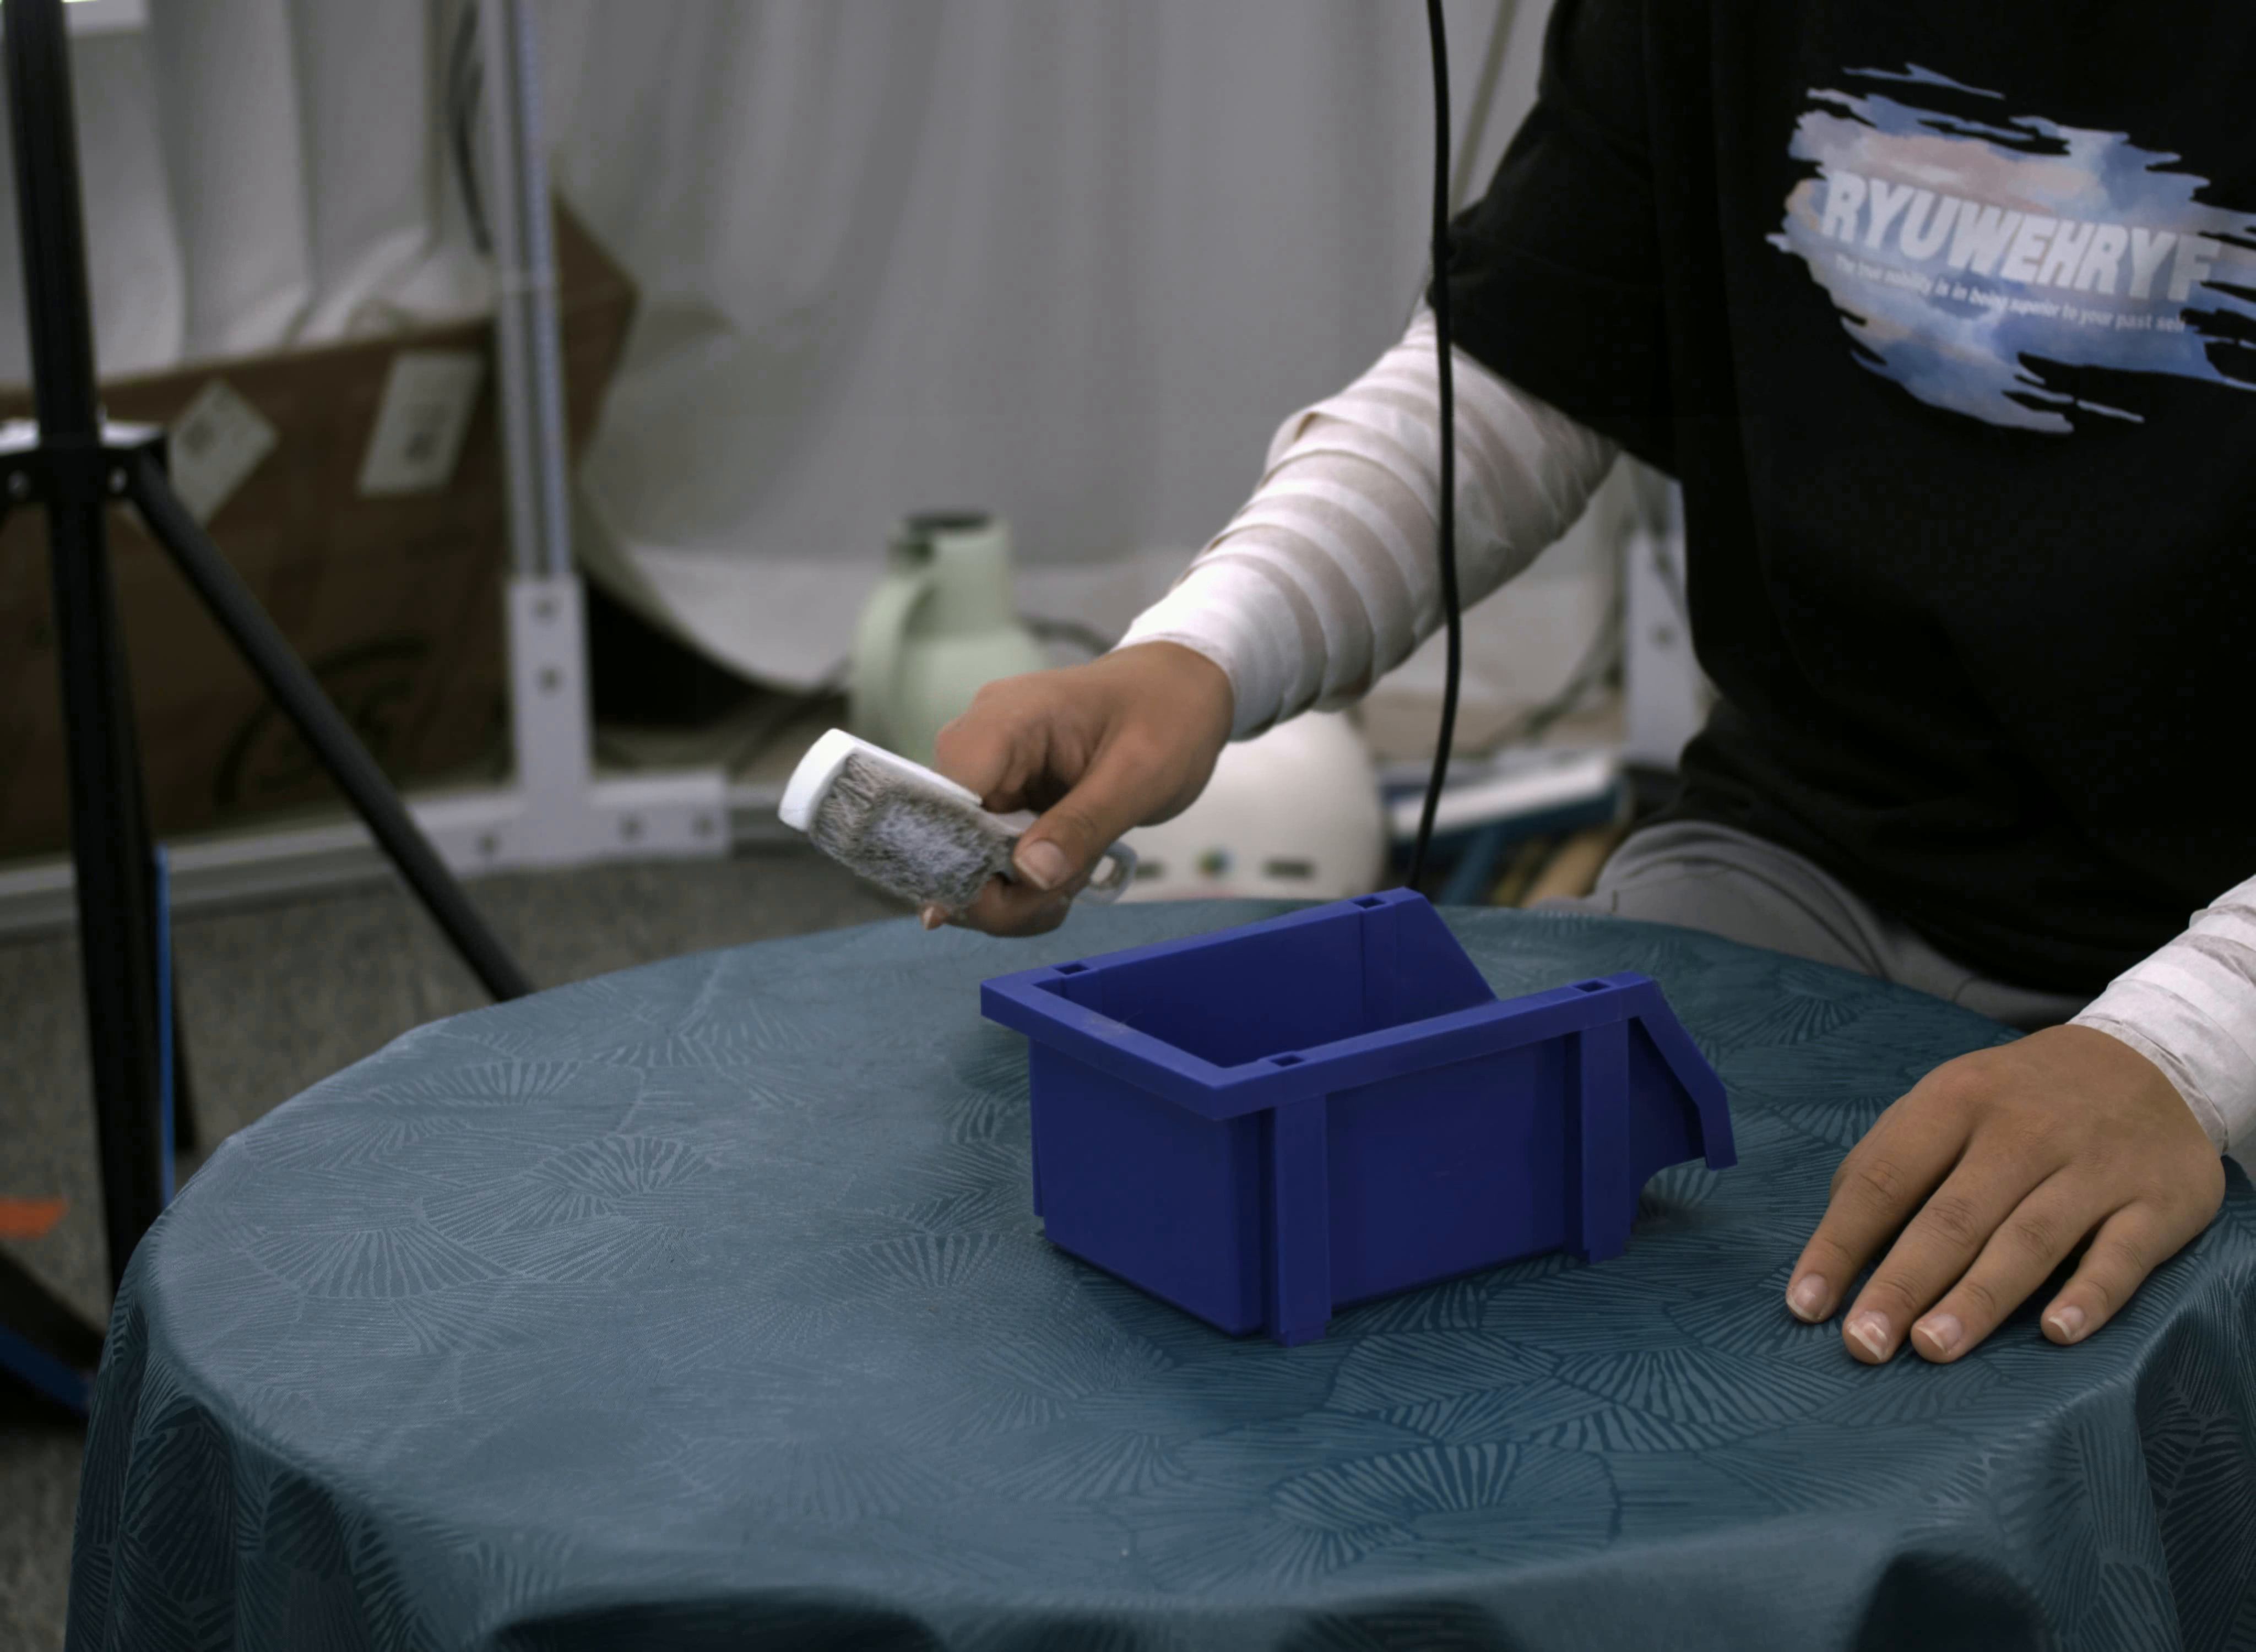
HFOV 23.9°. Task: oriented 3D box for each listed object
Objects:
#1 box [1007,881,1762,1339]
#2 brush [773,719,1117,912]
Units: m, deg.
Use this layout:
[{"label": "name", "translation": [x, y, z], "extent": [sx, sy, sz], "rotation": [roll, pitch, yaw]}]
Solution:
[{"label": "box", "translation": [0.073, 0.077, 1.511], "extent": [0.175, 0.082, 0.127], "rotation": [-12, 18, -28]}, {"label": "brush", "translation": [-0.040, 0.011, 1.659], "extent": [0.051, 0.034, 0.239], "rotation": [37, 6, 24]}]
